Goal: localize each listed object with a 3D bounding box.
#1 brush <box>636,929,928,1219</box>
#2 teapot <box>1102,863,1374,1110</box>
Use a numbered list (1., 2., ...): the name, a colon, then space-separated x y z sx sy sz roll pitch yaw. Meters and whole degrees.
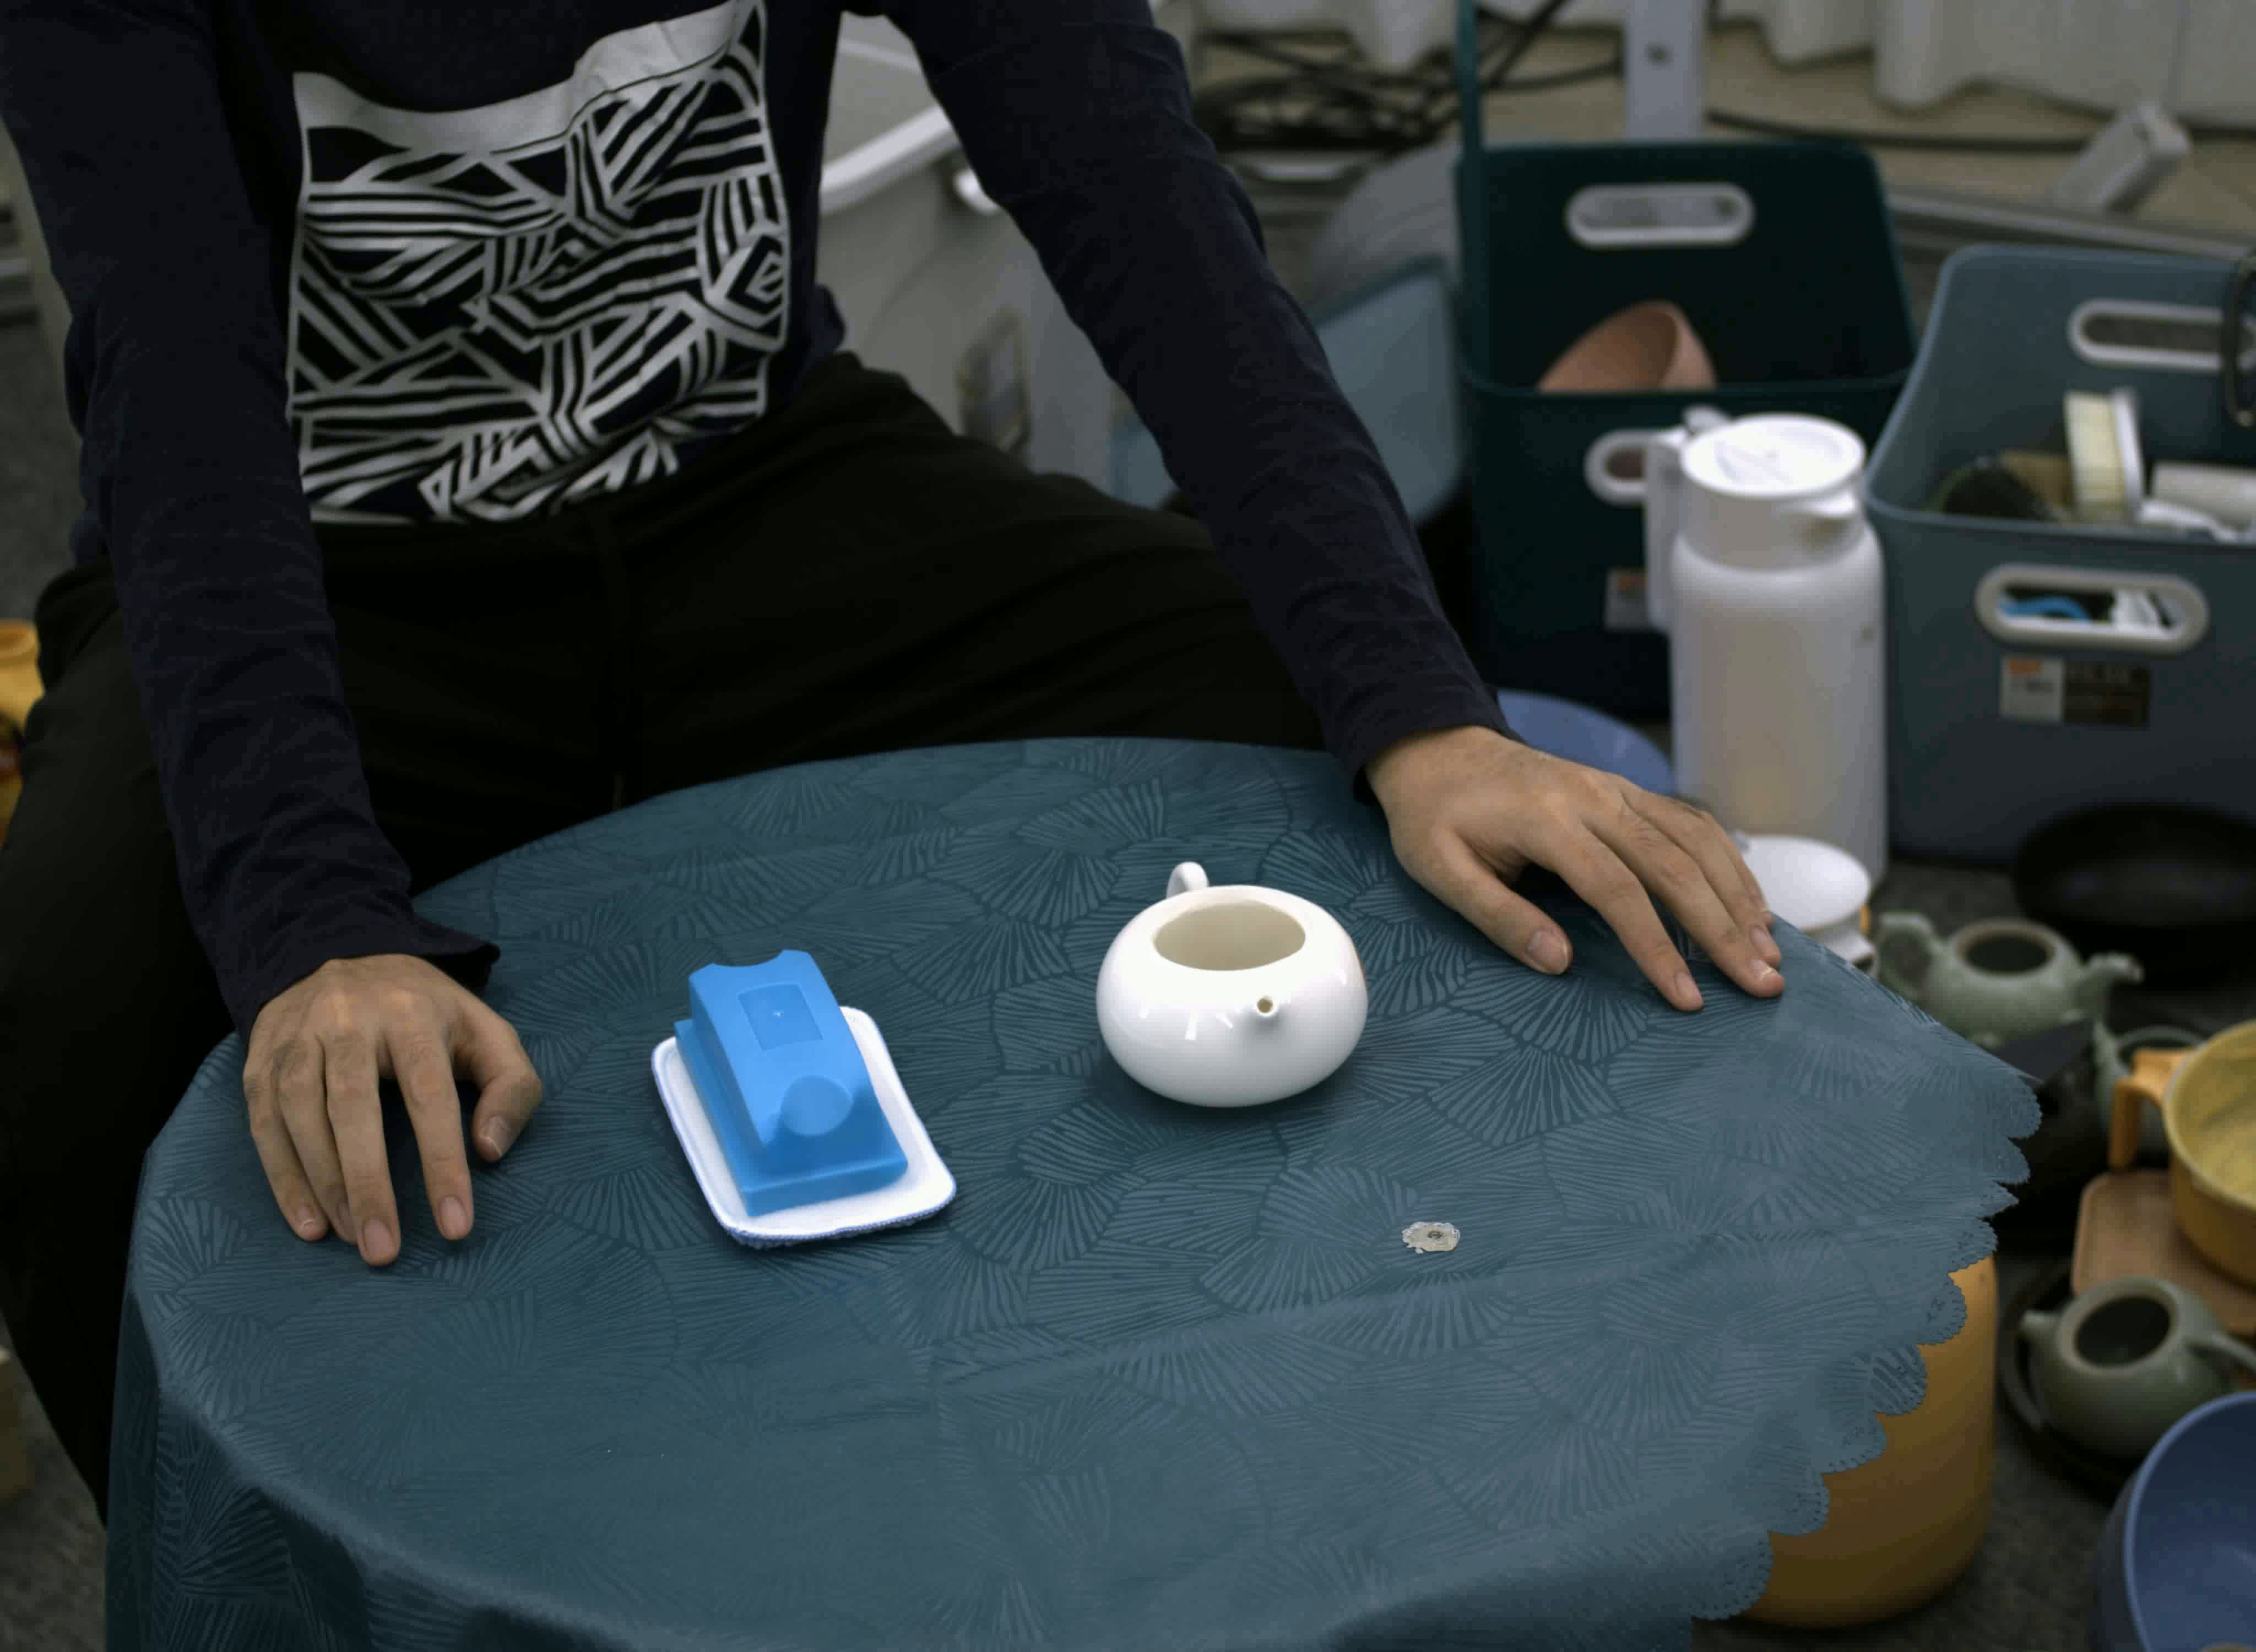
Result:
1. brush: -0.116 0.079 1.888 0.084 0.055 0.145 -6 29 -13
2. teapot: 0.034 0.055 1.927 0.093 0.056 0.128 -14 28 -15
